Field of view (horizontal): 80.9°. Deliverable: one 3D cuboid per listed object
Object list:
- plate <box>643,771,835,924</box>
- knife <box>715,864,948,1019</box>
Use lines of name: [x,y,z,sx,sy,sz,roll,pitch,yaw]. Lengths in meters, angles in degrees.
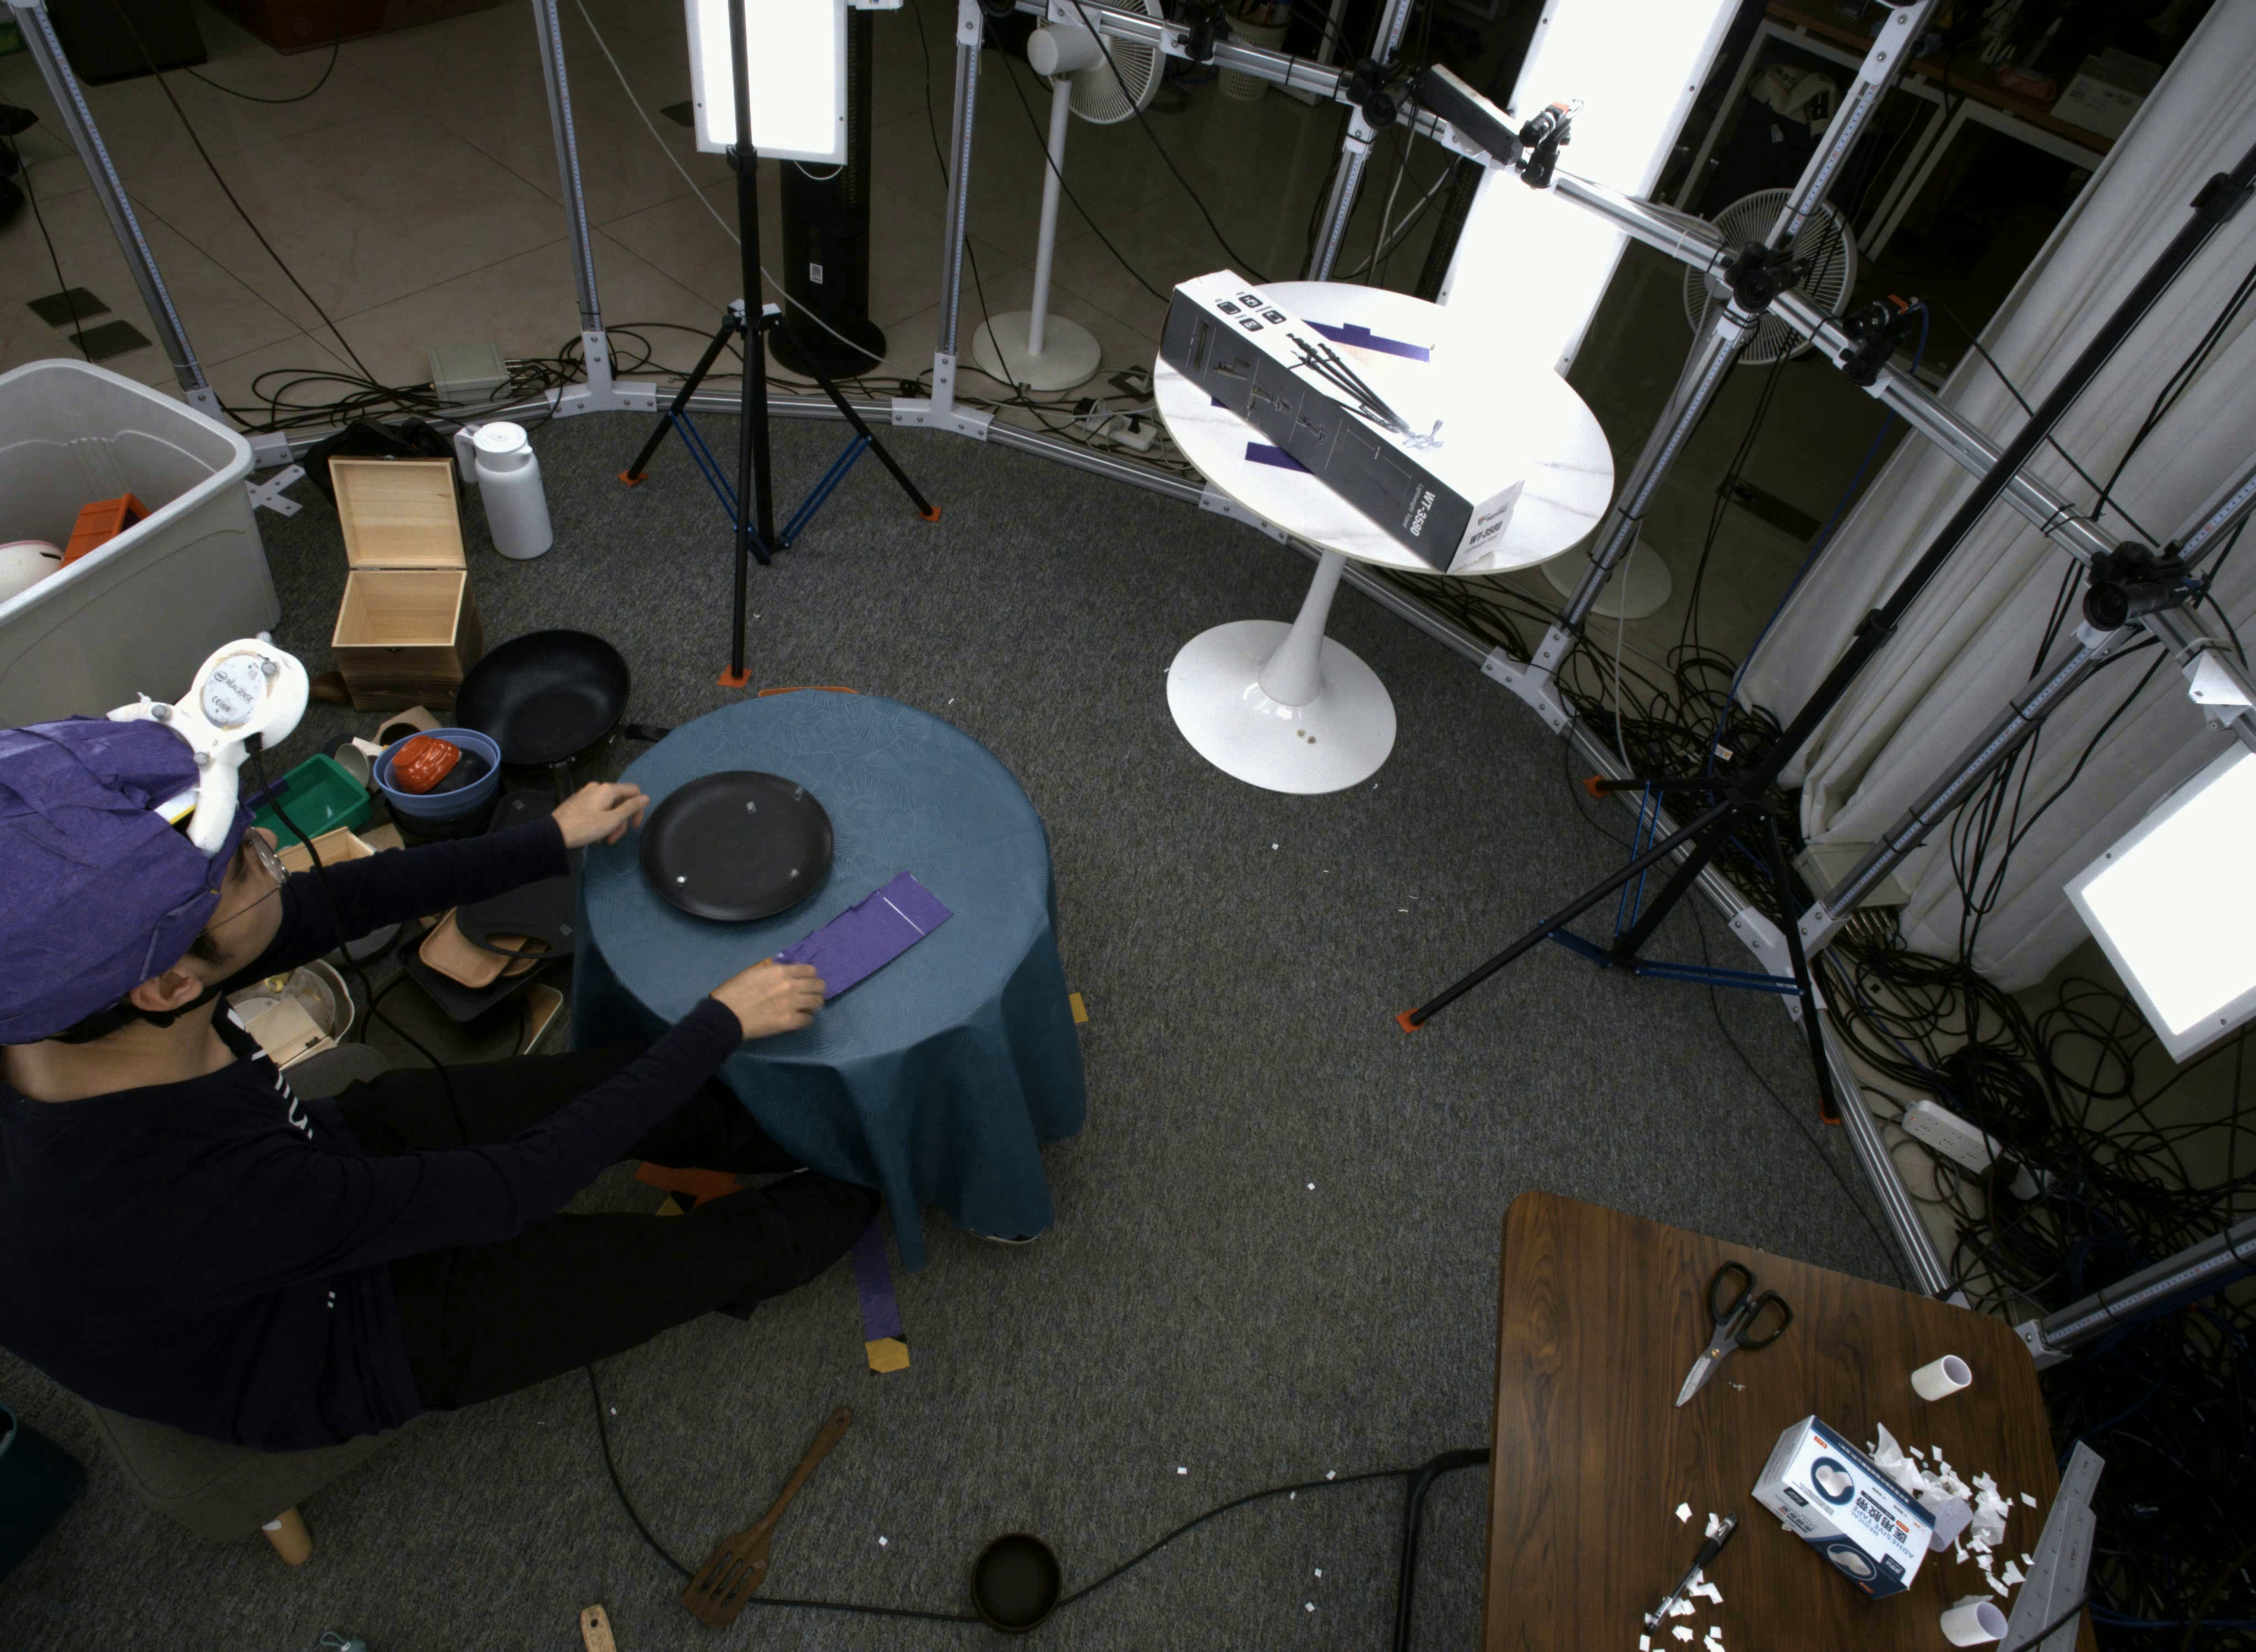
plate: [-0.504,0.028,1.679,0.244,0.024,0.240,8,52,-9]
knife: [-0.361,0.155,1.619,0.101,0.033,0.316,41,54,17]
